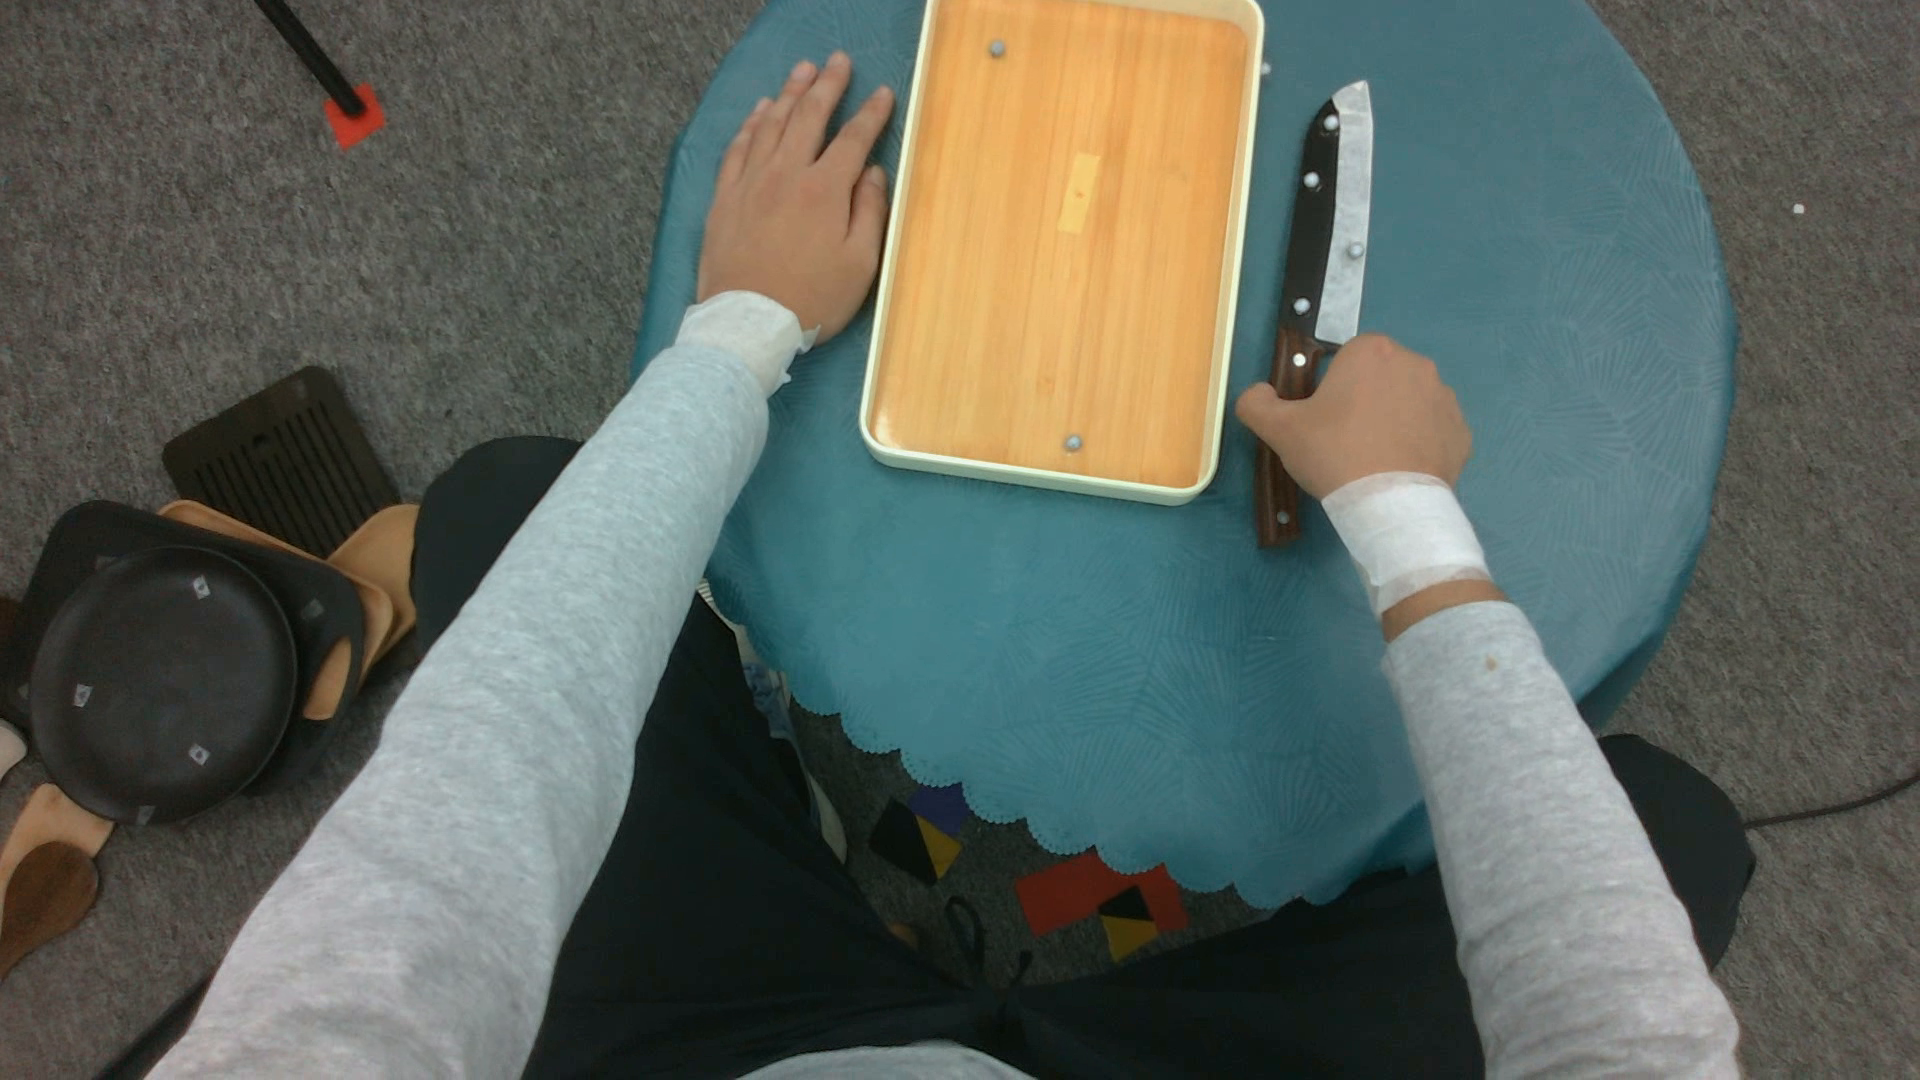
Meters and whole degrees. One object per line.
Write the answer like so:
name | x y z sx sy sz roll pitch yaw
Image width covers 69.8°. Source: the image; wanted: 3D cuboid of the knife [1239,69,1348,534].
knife | 0.186 -0.138 0.759 0.050 0.020 0.290 14 74 -6

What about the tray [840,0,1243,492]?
tray | 0.049 -0.182 0.759 0.191 0.027 0.301 8 76 0
